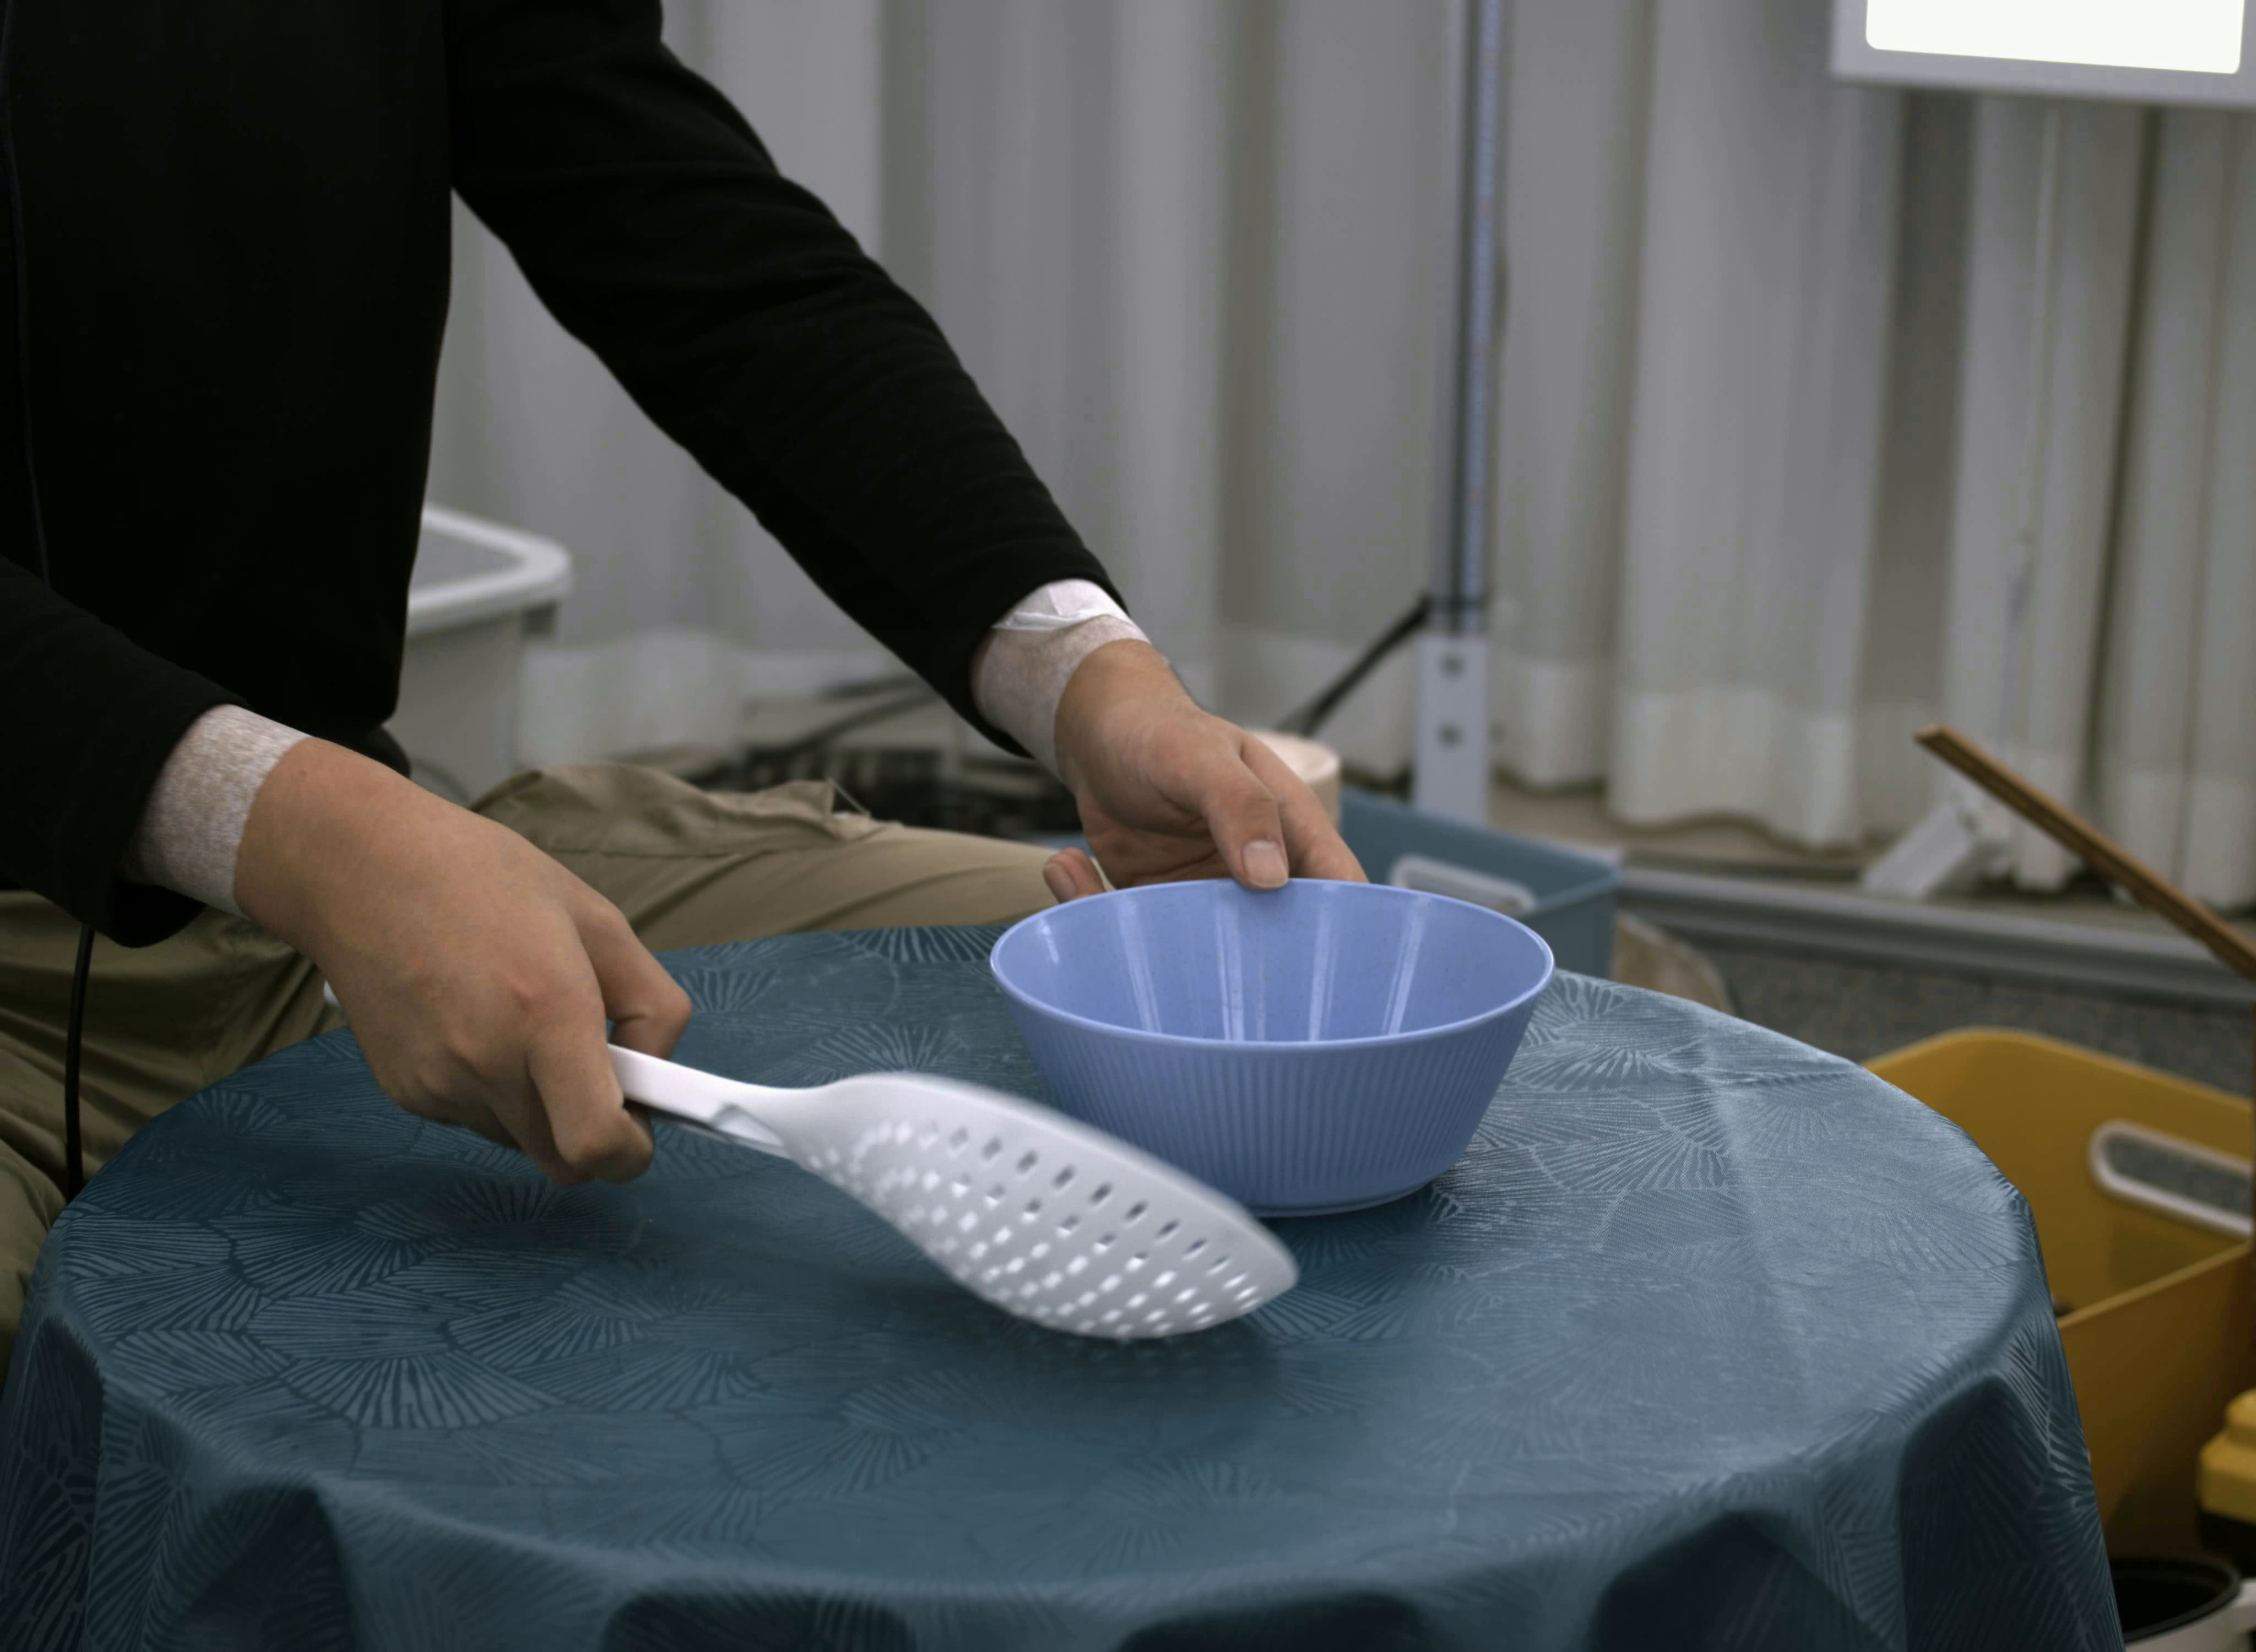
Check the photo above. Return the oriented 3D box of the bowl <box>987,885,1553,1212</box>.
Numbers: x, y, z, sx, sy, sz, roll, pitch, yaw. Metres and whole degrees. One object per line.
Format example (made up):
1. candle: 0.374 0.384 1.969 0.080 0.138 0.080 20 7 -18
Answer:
1. bowl: 0.044 0.071 1.640 0.175 0.071 0.175 0 15 1

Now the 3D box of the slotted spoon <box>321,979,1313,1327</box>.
1. slotted spoon: -0.102 0.086 1.536 0.345 0.045 0.138 17 -19 34
